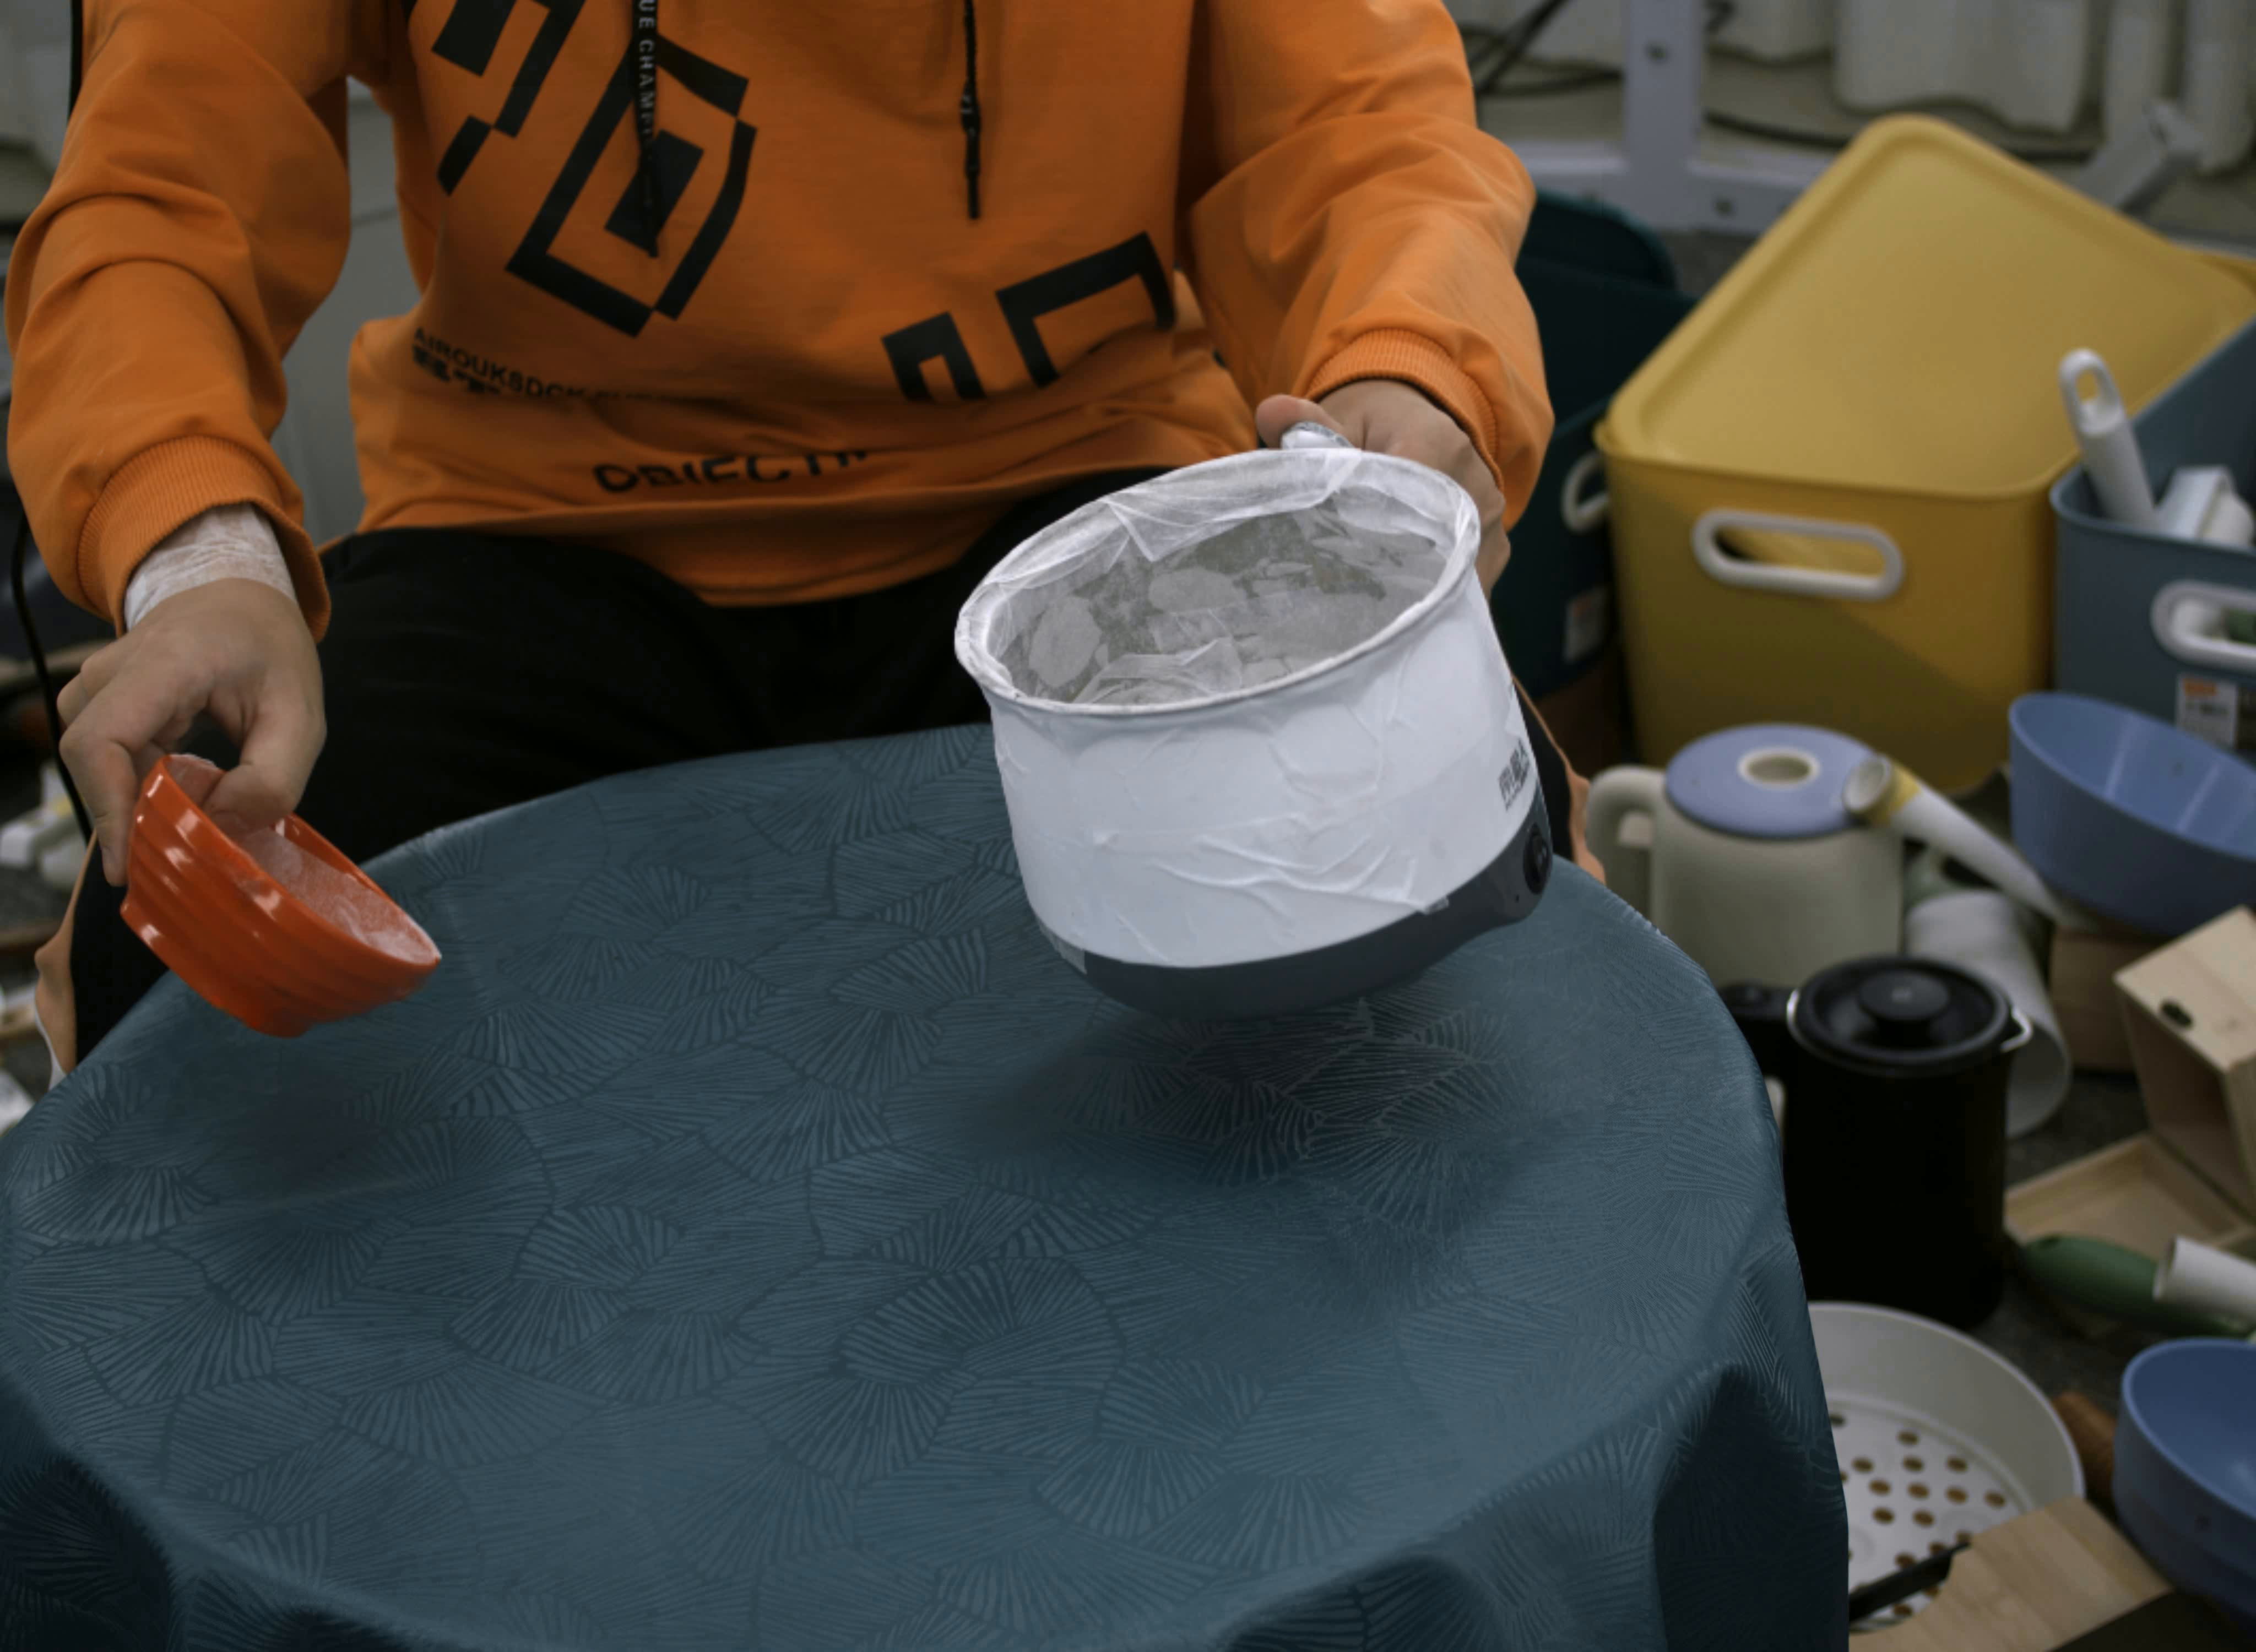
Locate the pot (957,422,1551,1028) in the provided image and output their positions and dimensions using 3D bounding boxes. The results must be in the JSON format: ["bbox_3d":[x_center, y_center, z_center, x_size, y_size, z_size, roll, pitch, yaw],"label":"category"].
[{"bbox_3d":[0.052,-0.041,1.895,0.177,0.135,0.238,-3,30,21],"label":"pot"}]

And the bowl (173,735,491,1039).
[{"bbox_3d":[-0.272,0.028,1.861,0.118,0.051,0.121,38,22,-17],"label":"bowl"}]
